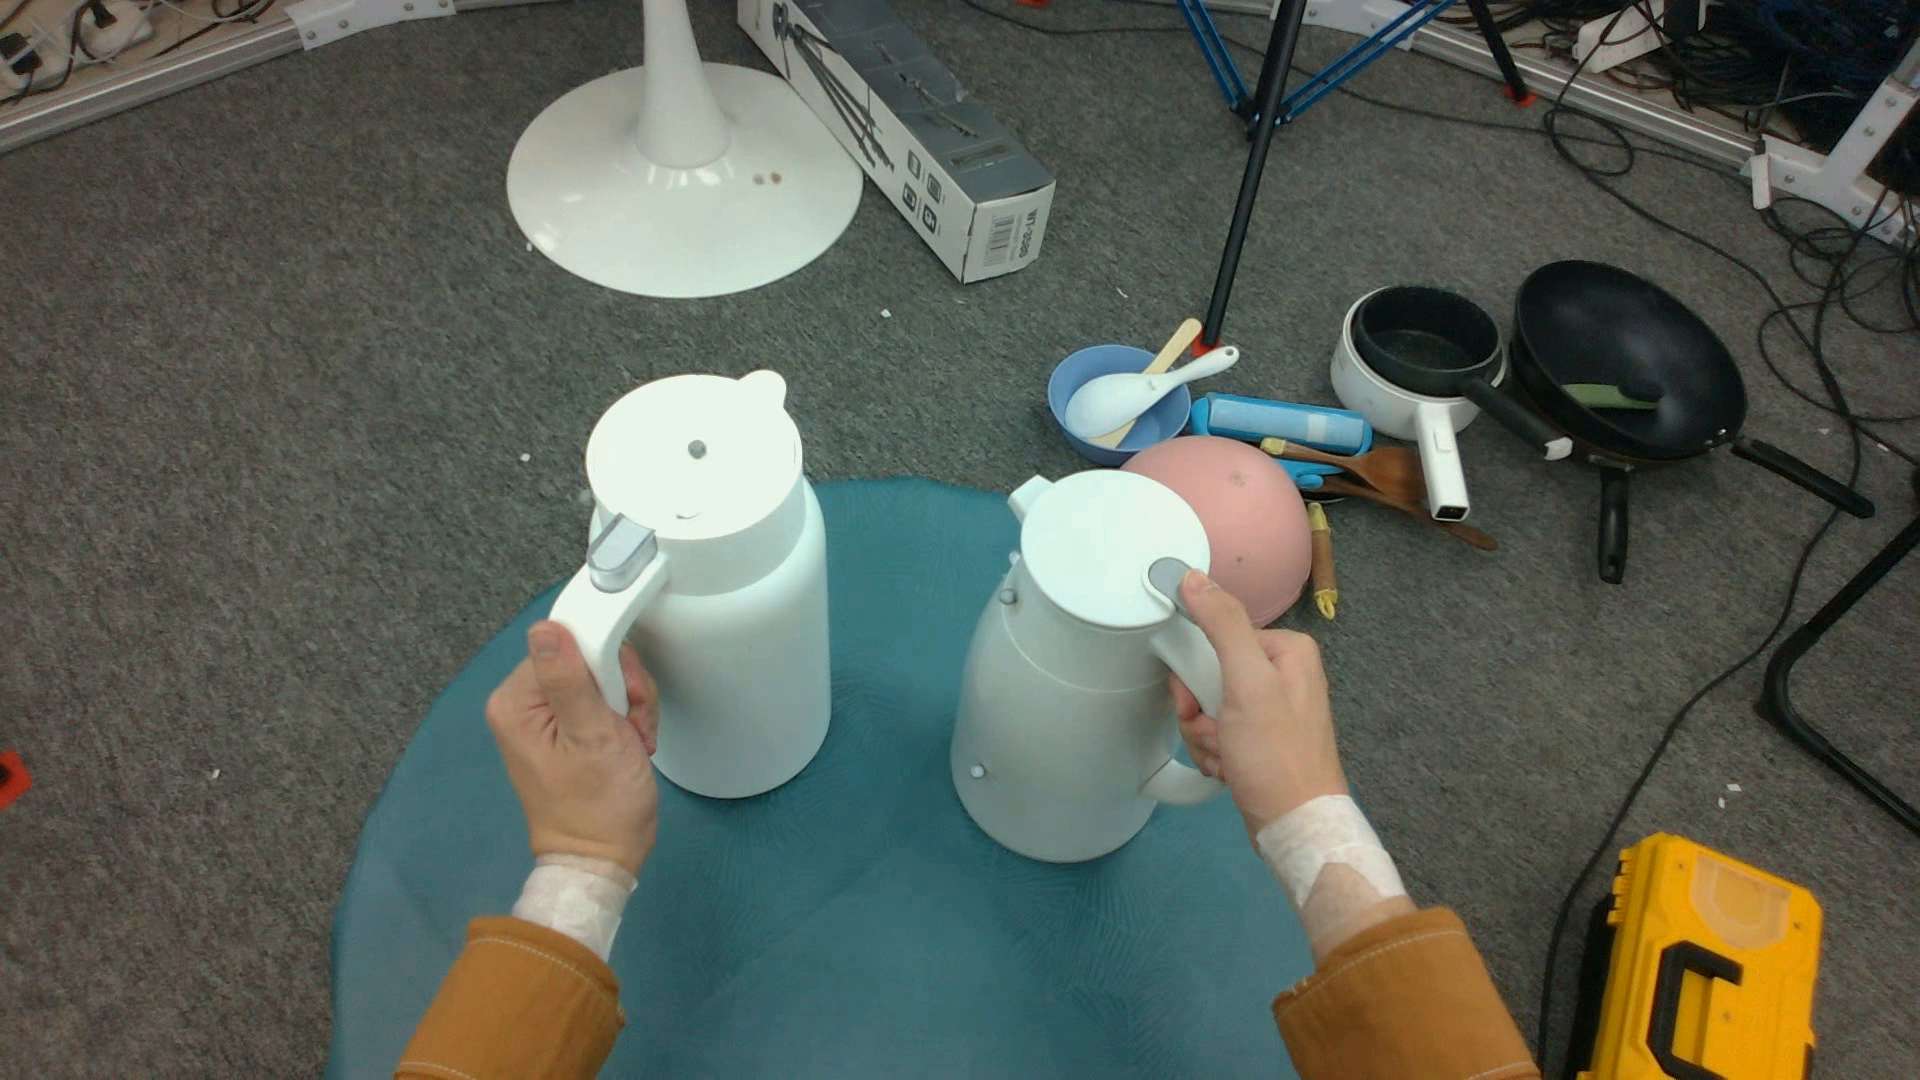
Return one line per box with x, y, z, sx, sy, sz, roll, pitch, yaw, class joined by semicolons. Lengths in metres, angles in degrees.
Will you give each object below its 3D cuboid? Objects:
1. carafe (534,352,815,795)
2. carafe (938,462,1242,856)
-0.145;0.044;0.733;0.124;0.267;0.173;25;57;10;carafe
0.074;0.075;0.744;0.133;0.247;0.168;-37;67;-26;carafe
